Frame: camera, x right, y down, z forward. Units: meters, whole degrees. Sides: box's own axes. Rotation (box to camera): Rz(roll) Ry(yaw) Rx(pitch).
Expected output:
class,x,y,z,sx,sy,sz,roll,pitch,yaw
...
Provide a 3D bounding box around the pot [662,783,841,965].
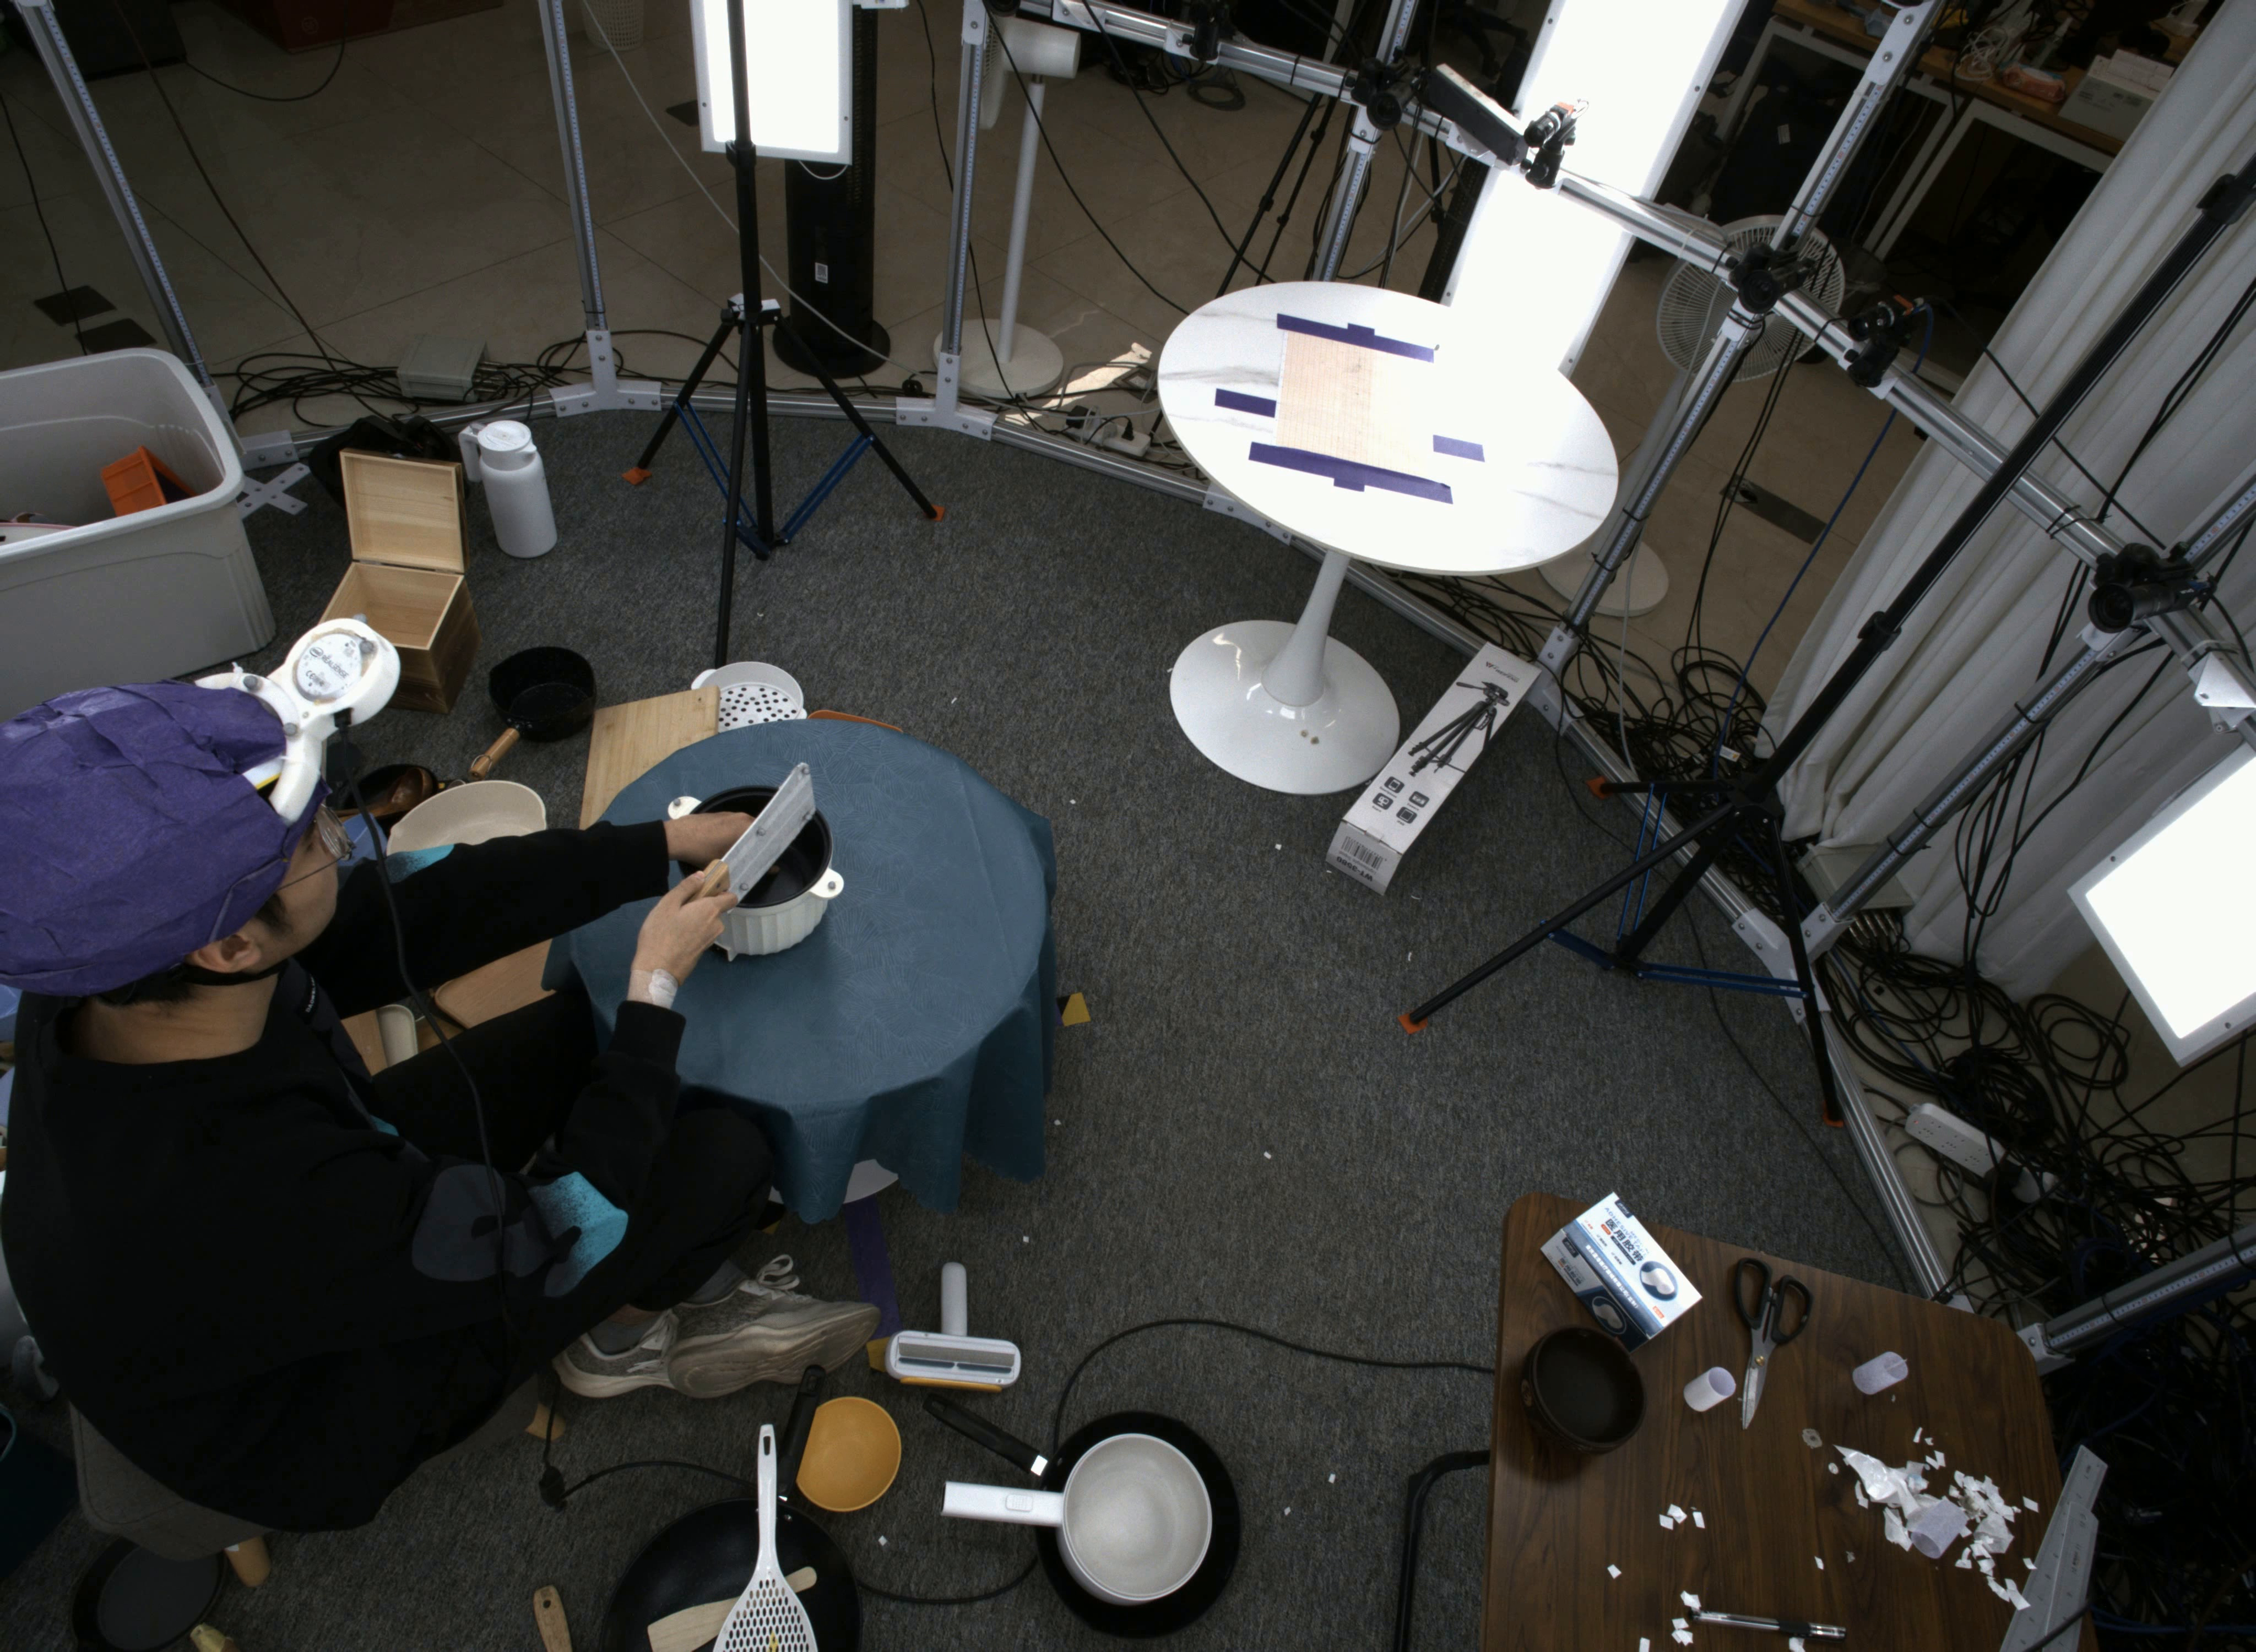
class,x,y,z,sx,sy,sz,roll,pitch,yaw
pot,-0.453,0.056,1.574,0.237,0.145,0.189,26,54,5

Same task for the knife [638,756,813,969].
class,x,y,z,sx,sy,sz,roll,pitch,yaw
knife,-0.434,0.039,1.419,0.021,0.117,0.313,20,44,12
